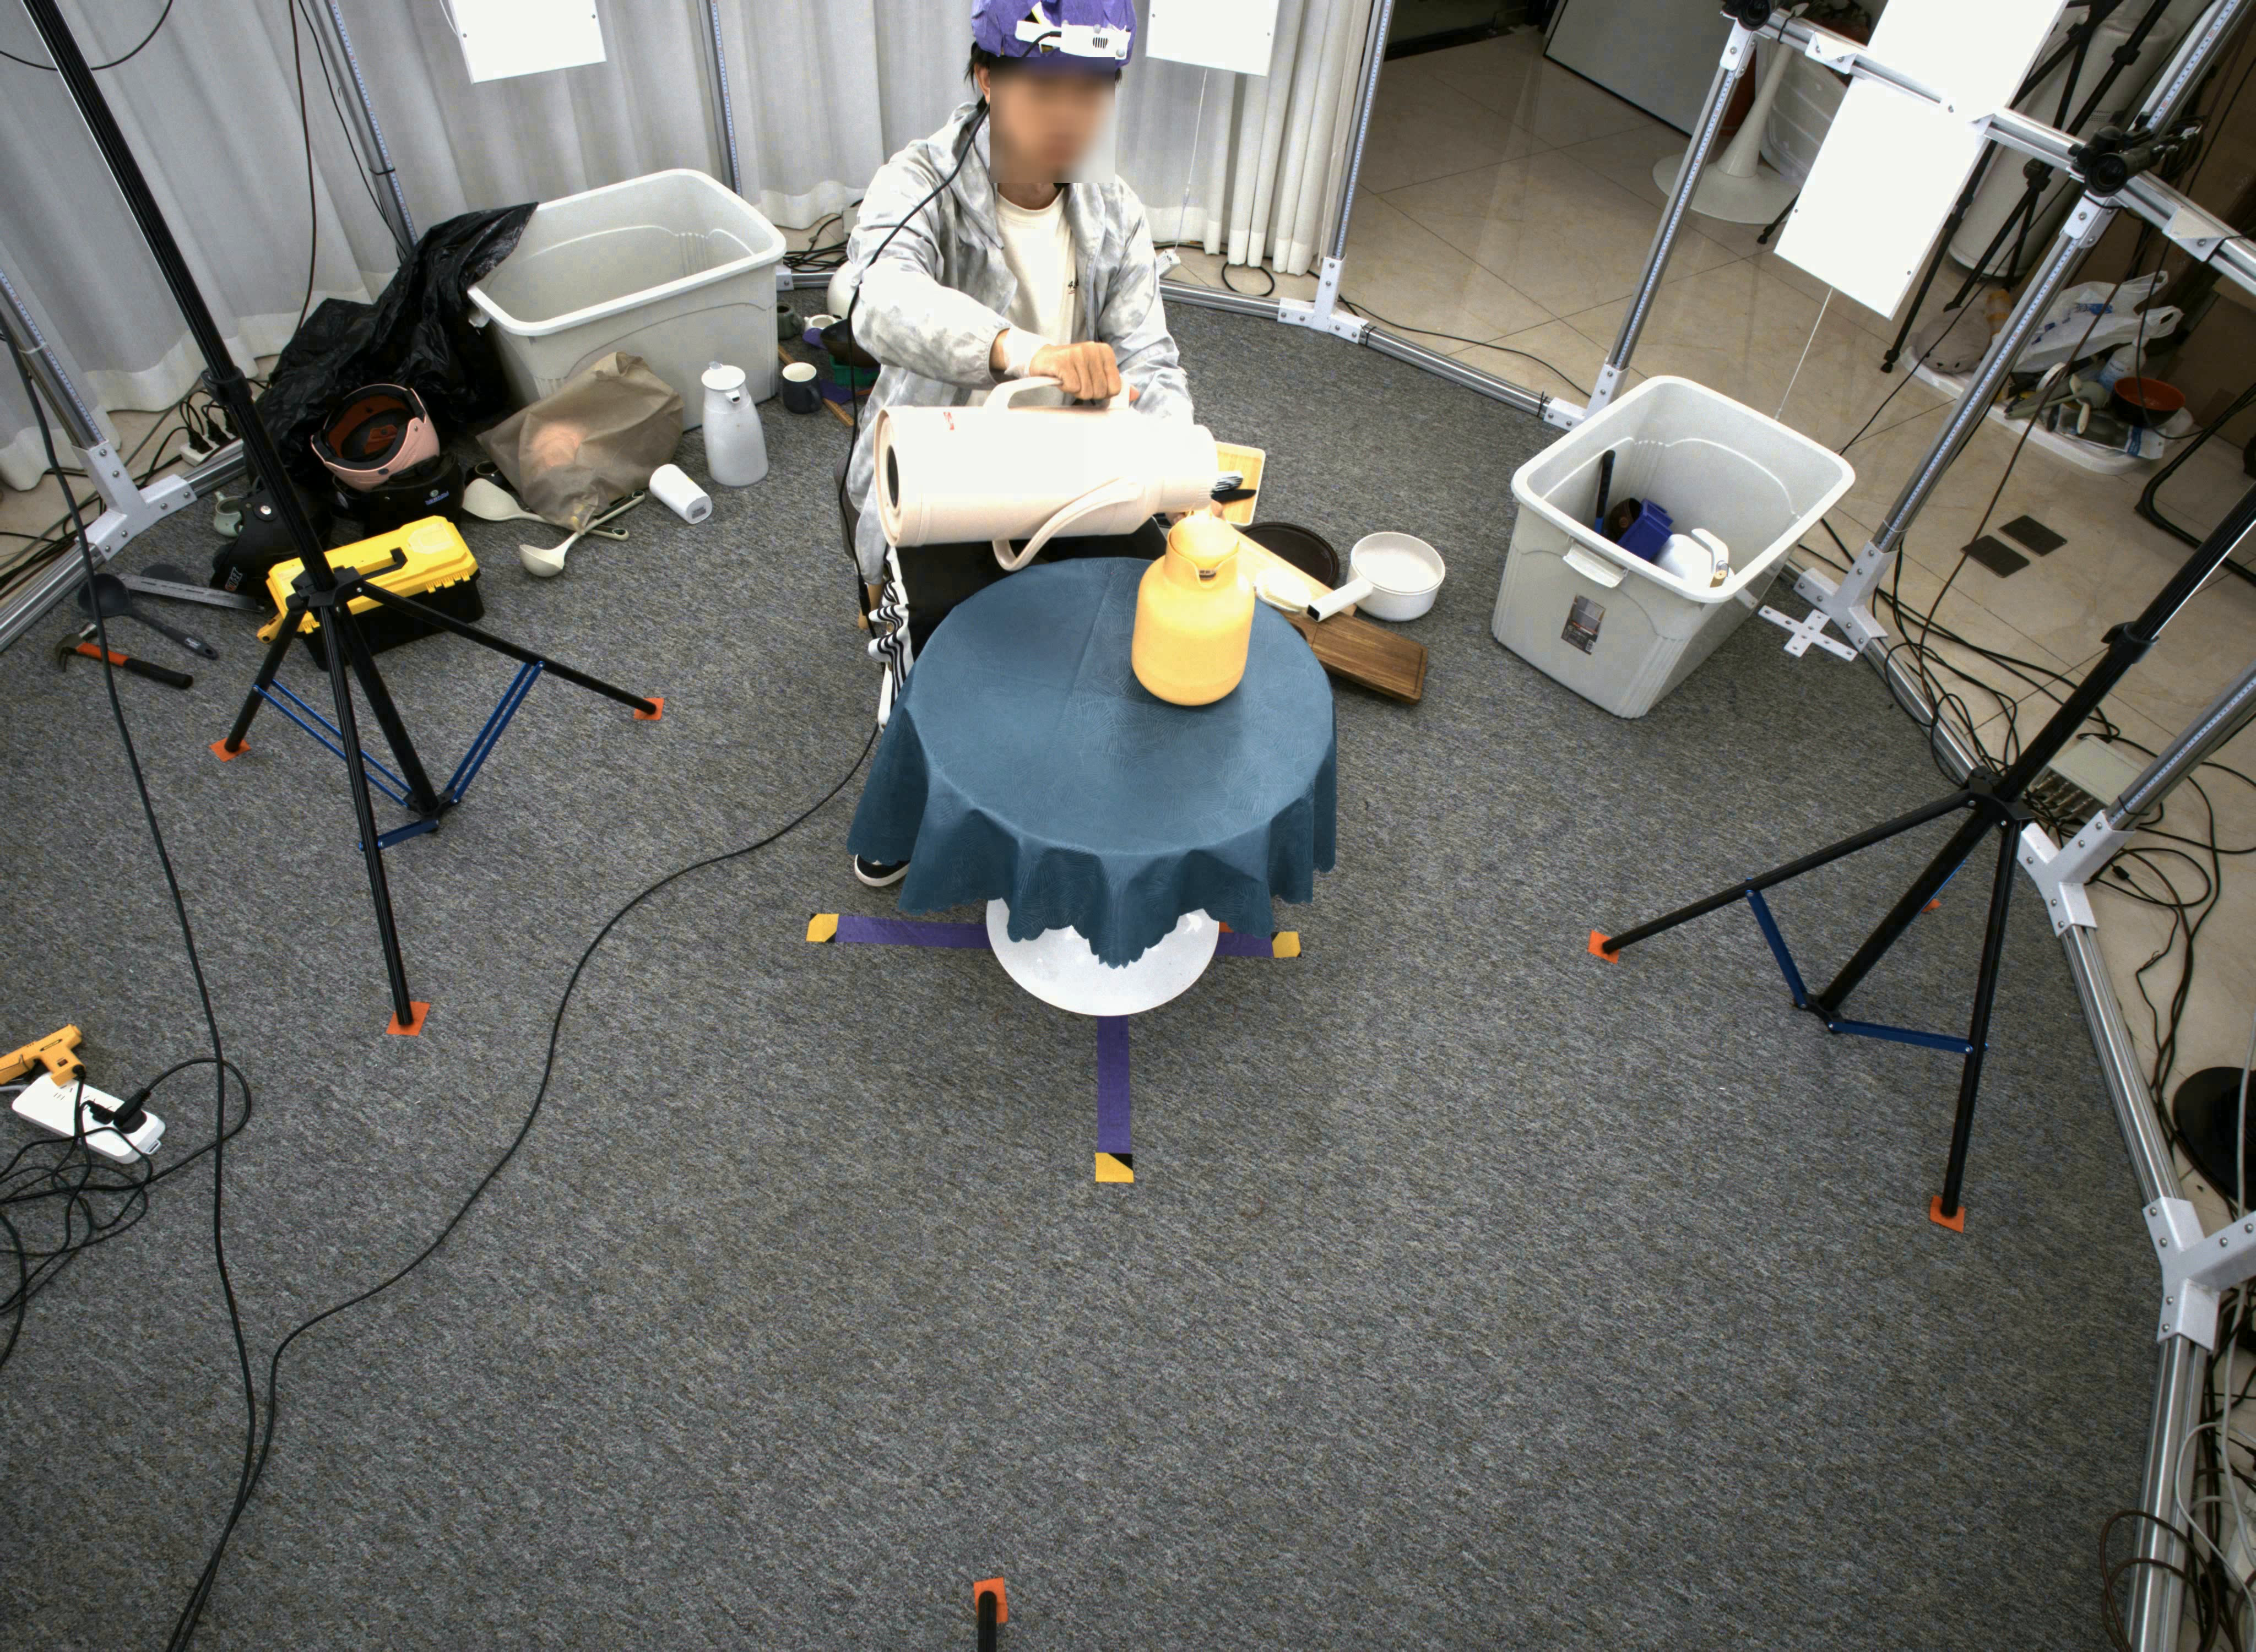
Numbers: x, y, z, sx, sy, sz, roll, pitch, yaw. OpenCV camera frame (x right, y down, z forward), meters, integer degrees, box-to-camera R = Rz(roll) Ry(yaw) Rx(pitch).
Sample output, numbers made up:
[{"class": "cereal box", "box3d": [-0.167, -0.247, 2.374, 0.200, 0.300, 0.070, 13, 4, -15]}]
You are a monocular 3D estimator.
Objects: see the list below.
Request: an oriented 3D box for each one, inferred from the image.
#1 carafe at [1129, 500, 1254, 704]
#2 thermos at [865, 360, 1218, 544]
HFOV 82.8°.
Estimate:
[{"class": "carafe", "box3d": [0.092, -0.317, 1.774, 0.163, 0.254, 0.207, 4, 50, -4]}, {"class": "thermos", "box3d": [-0.096, -0.443, 1.537, 0.405, 0.203, 0.179, -6, 28, -18]}]
